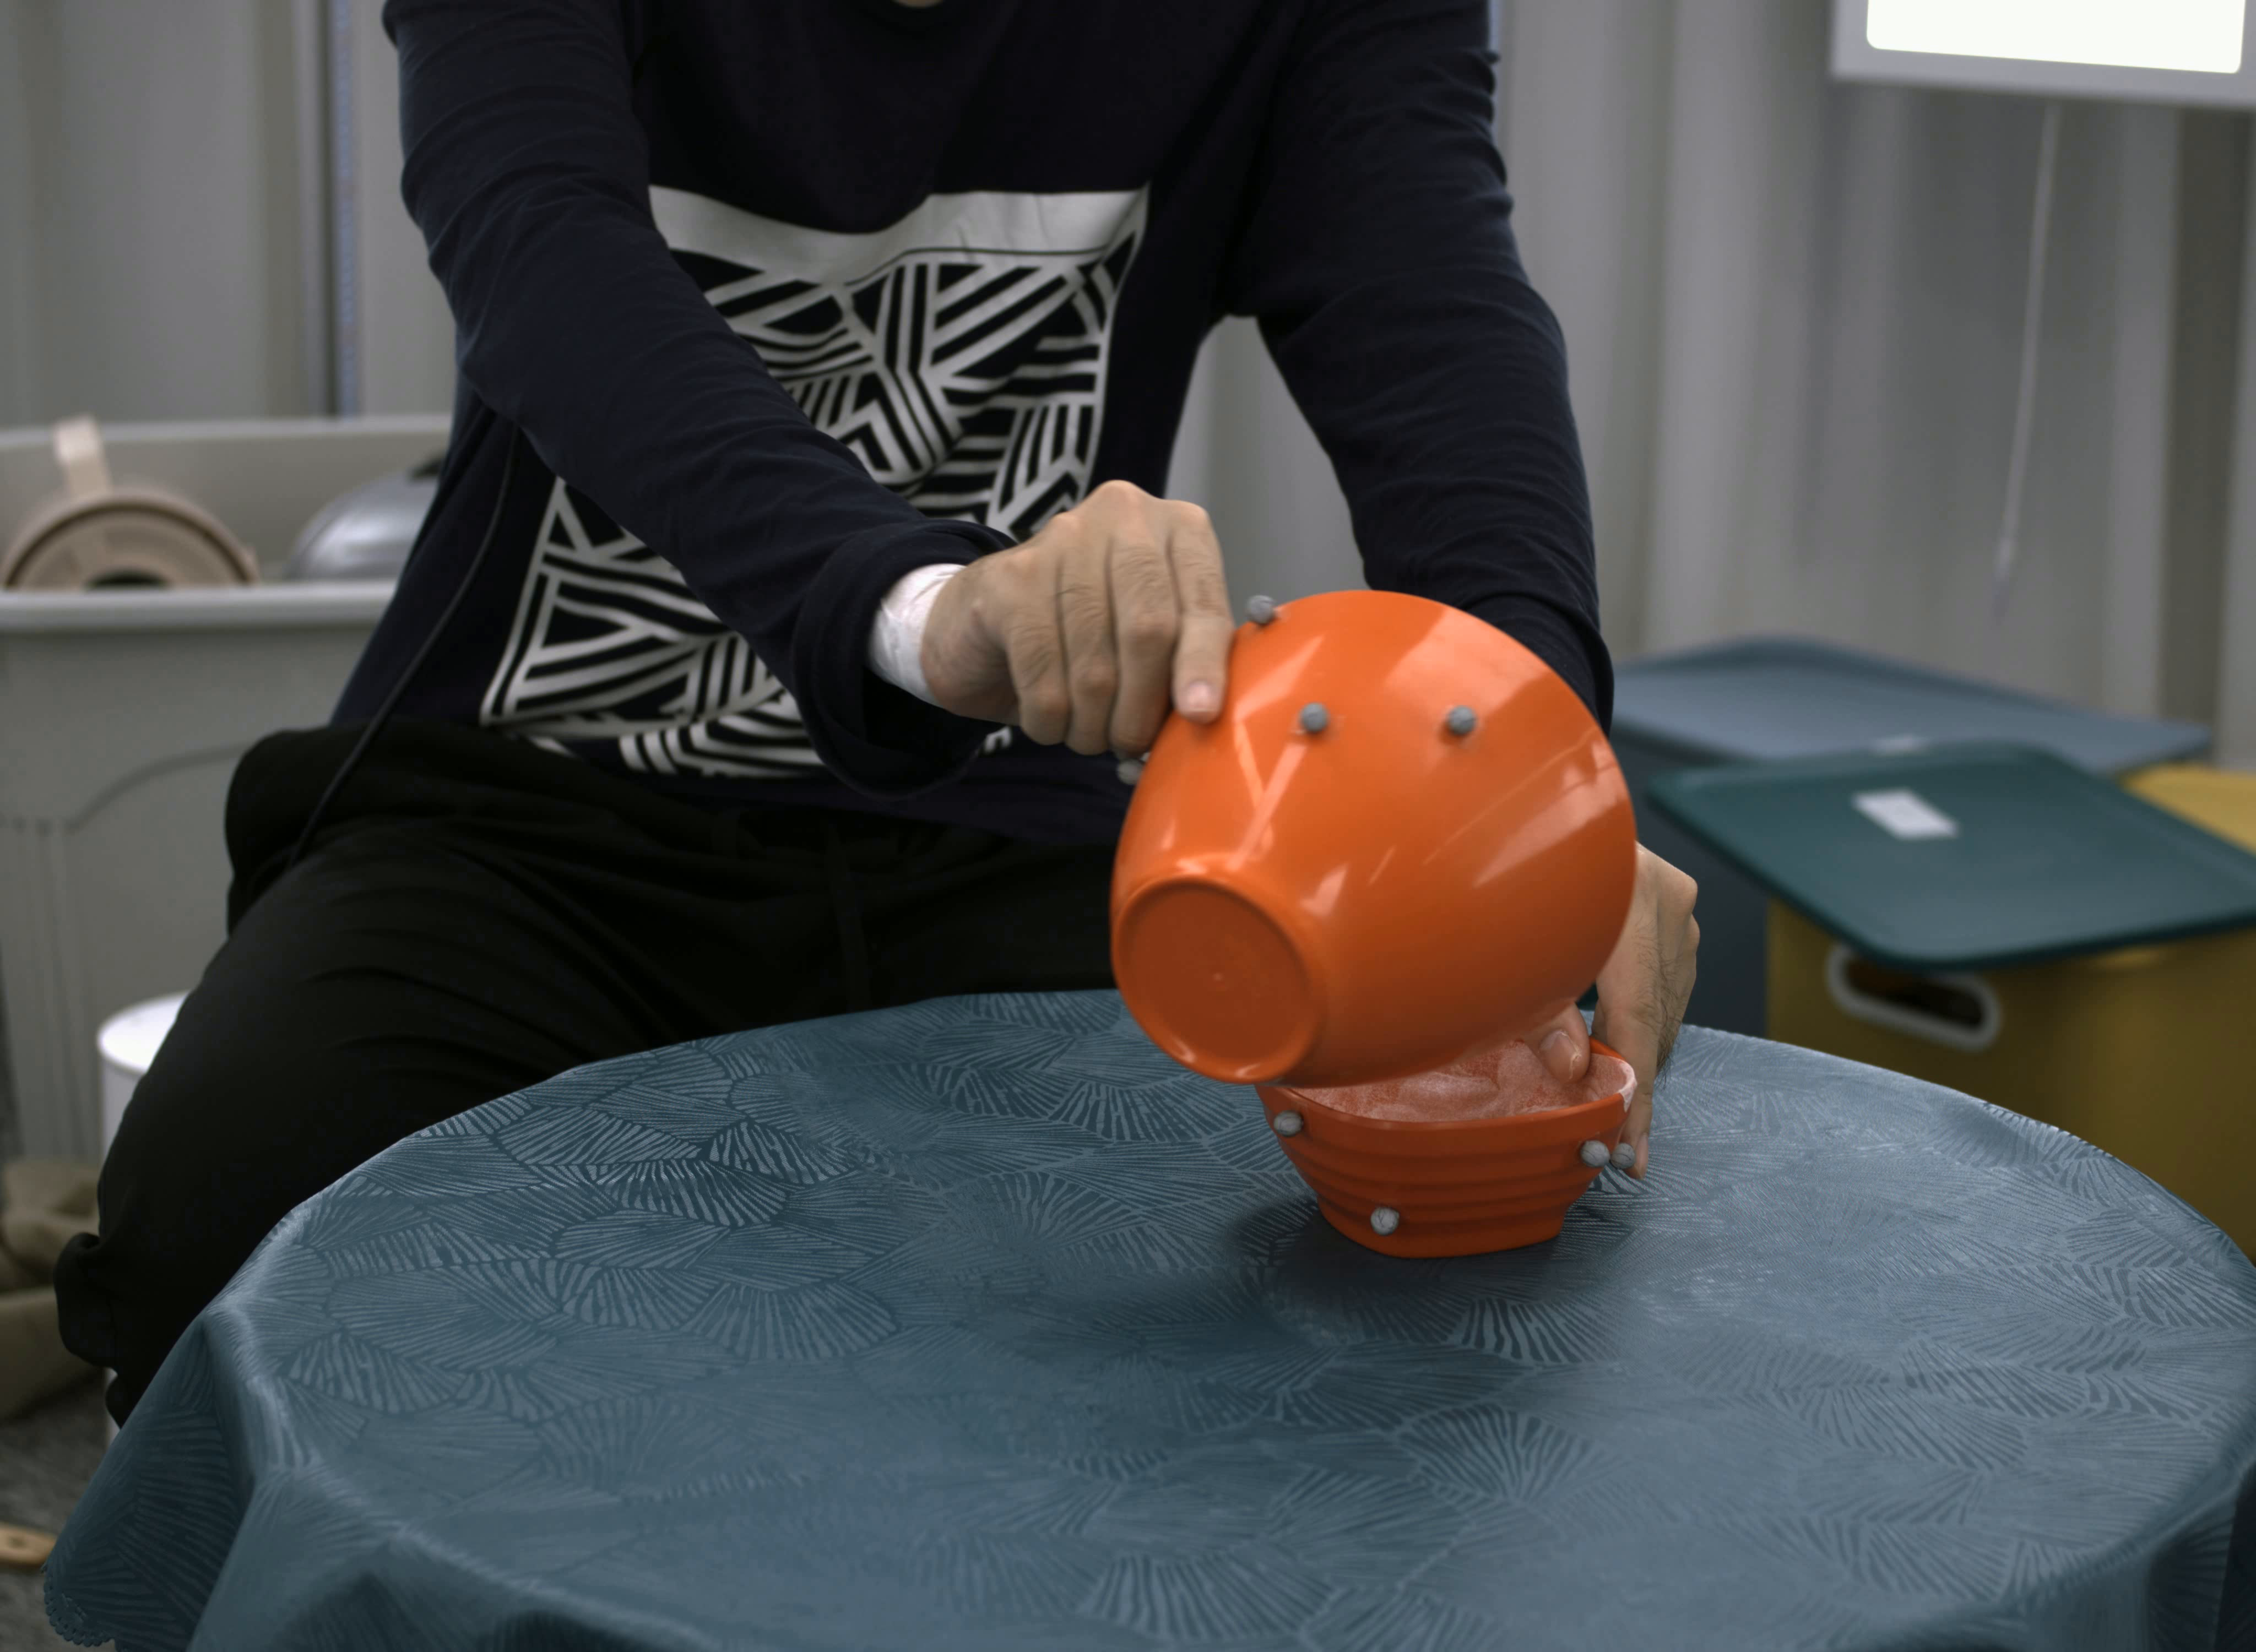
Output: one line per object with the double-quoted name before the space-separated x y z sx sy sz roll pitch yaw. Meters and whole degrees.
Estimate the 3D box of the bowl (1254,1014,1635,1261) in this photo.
"bowl" 0.095 0.096 1.597 0.118 0.052 0.118 -1 15 1

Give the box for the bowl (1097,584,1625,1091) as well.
"bowl" 0.053 0.017 1.496 0.146 0.150 0.104 9 32 27
